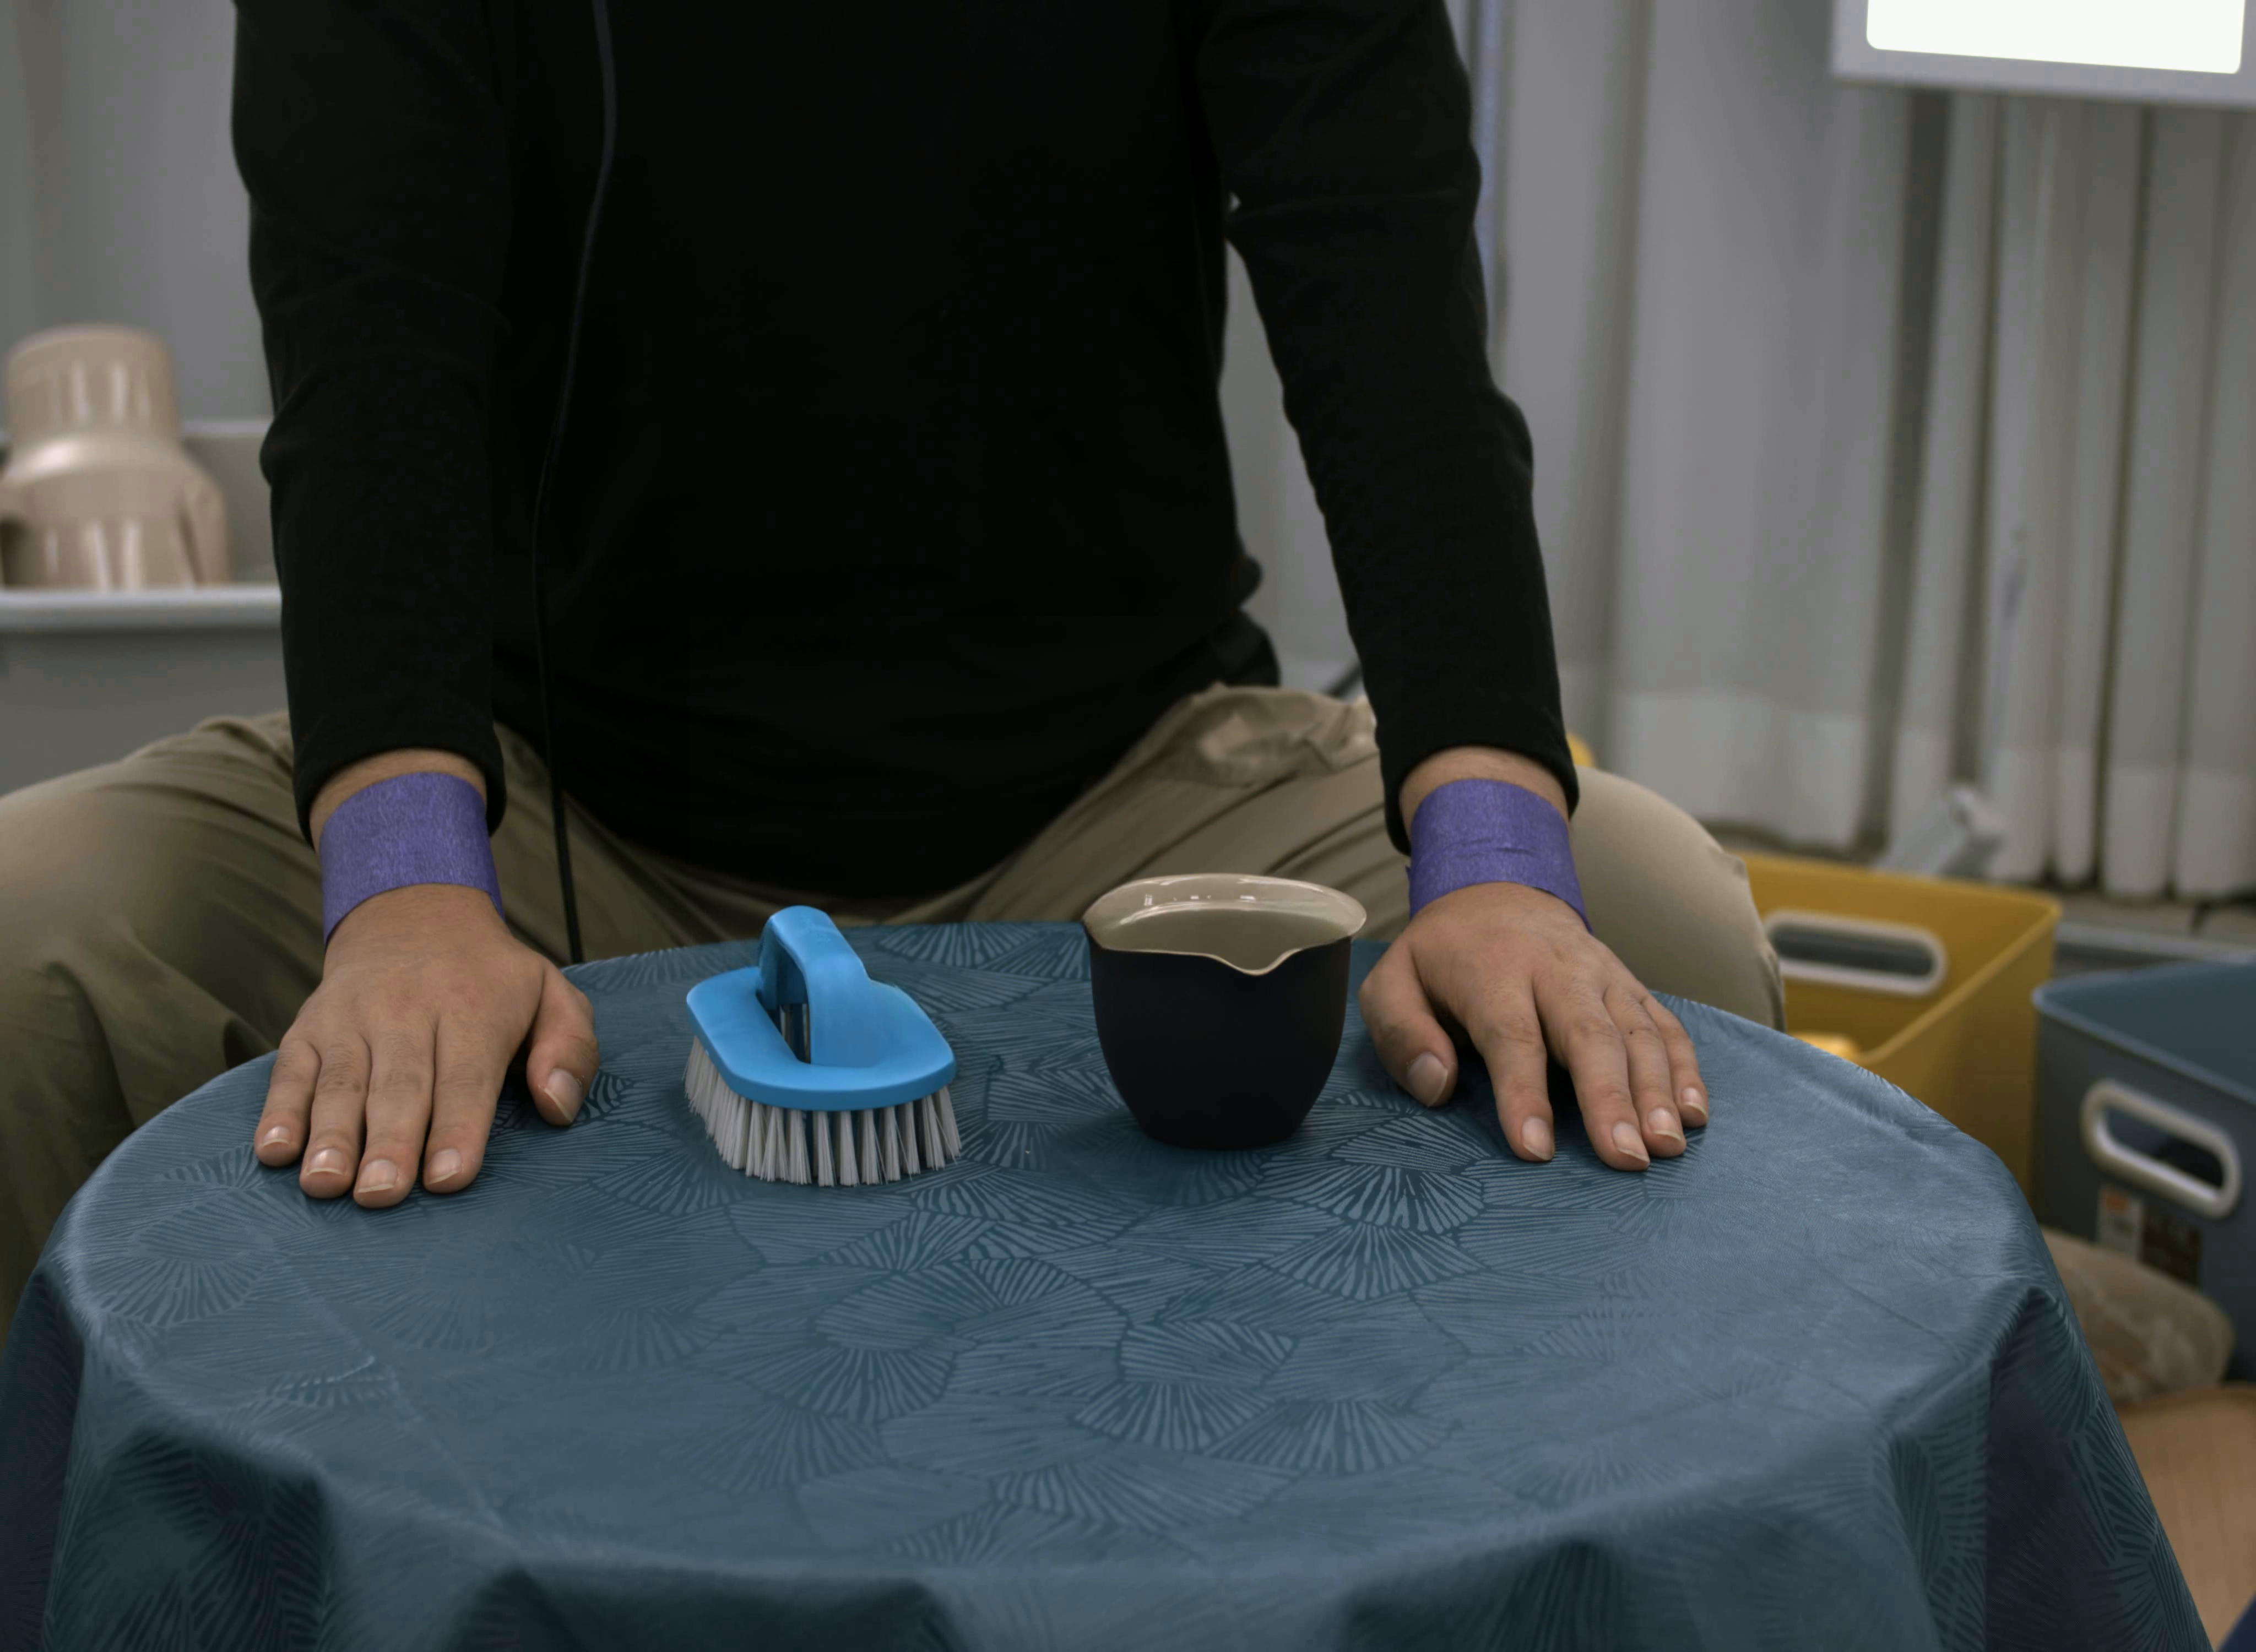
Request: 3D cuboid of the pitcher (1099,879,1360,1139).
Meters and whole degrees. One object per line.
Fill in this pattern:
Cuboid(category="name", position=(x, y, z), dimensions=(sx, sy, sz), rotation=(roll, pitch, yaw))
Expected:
Cuboid(category="pitcher", position=(0.032, 0.059, 1.672), dimensions=(0.083, 0.072, 0.095), rotation=(0, 17, -6))

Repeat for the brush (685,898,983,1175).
Cuboid(category="brush", position=(-0.097, 0.061, 1.680), dimensions=(0.084, 0.064, 0.140), rotation=(-8, 16, -12))
